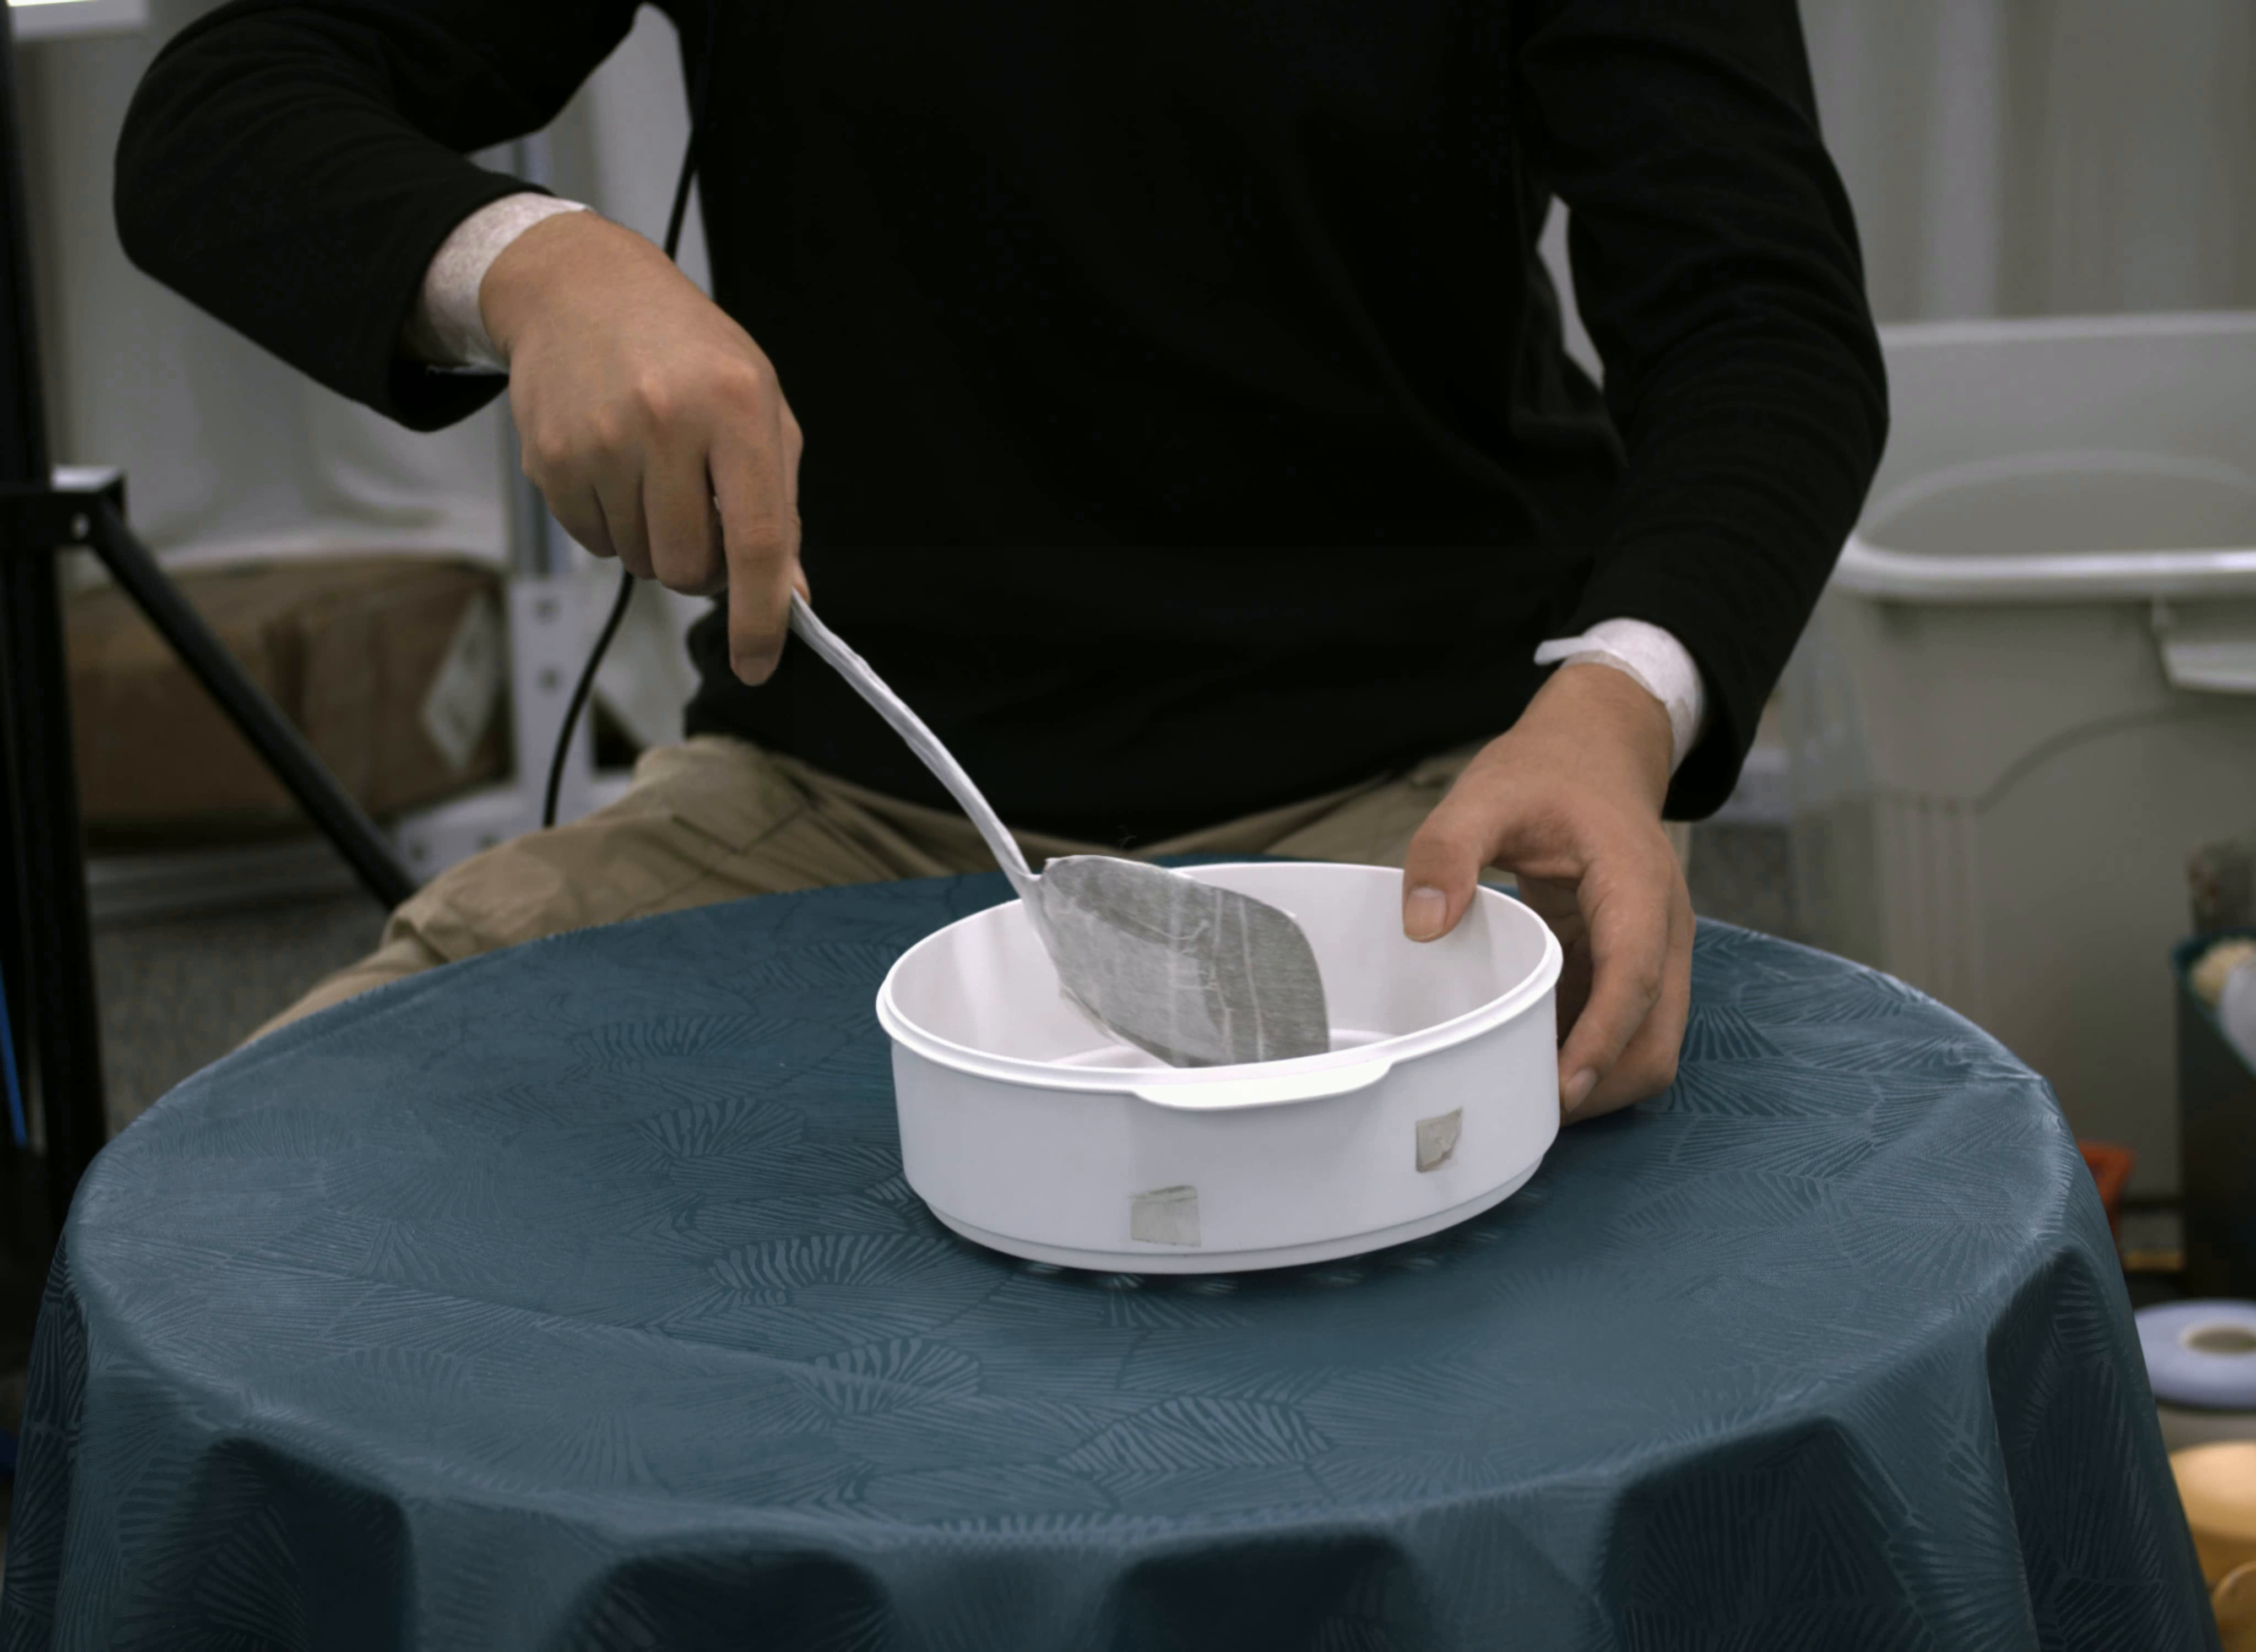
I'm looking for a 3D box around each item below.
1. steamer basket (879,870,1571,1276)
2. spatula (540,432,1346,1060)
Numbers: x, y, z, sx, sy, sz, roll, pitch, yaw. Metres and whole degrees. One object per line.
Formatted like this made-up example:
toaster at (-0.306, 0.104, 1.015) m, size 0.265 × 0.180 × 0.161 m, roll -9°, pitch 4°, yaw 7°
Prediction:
steamer basket at (0.029, 0.071, 1.546) m, size 0.200 × 0.069 × 0.232 m, roll -5°, pitch 15°, yaw -3°
spatula at (-0.064, -0.032, 1.634) m, size 0.044 × 0.098 × 0.372 m, roll -32°, pitch 54°, yaw -20°
